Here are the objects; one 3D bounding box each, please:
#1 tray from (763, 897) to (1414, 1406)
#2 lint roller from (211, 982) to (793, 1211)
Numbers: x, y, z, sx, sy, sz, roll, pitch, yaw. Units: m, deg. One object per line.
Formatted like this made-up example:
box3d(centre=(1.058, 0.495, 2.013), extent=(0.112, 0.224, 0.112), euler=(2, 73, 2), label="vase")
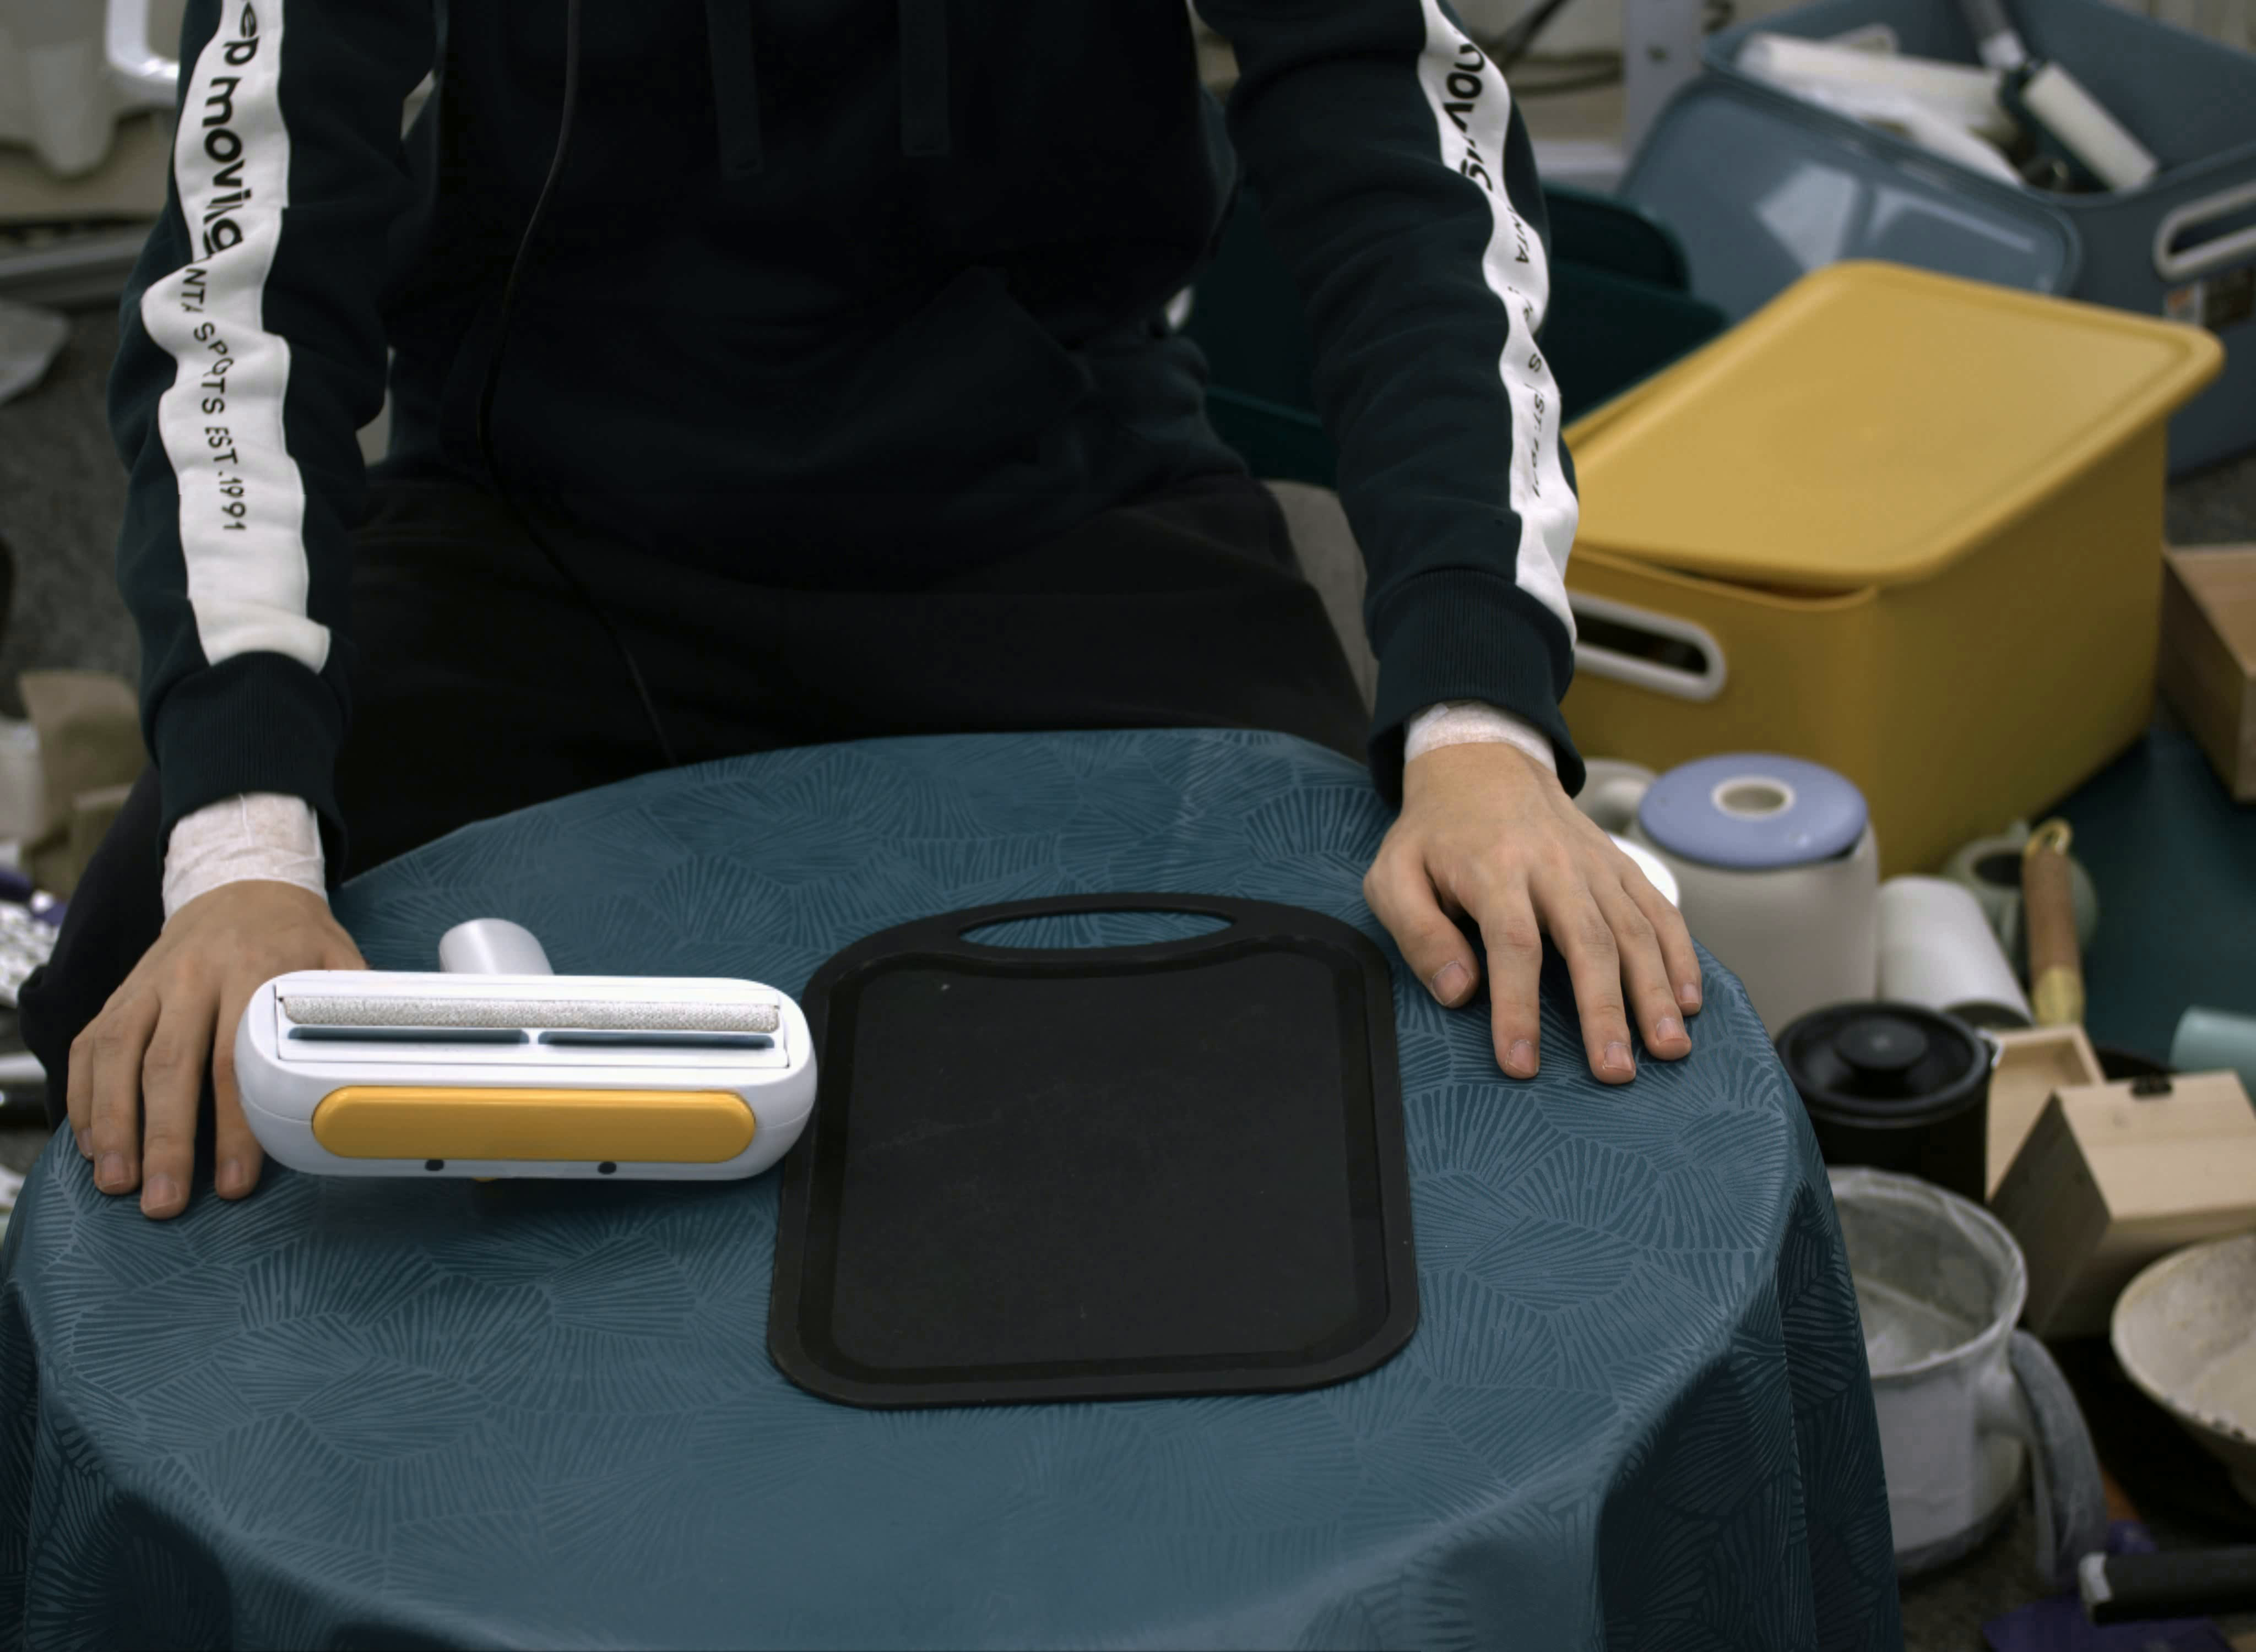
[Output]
box3d(centre=(-0.013, 0.102, 1.893), extent=(0.210, 0.009, 0.330), euler=(-2, 27, 1), label="tray")
box3d(centre=(-0.213, 0.082, 1.923), extent=(0.192, 0.074, 0.193), euler=(1, 13, -6), label="lint roller")
